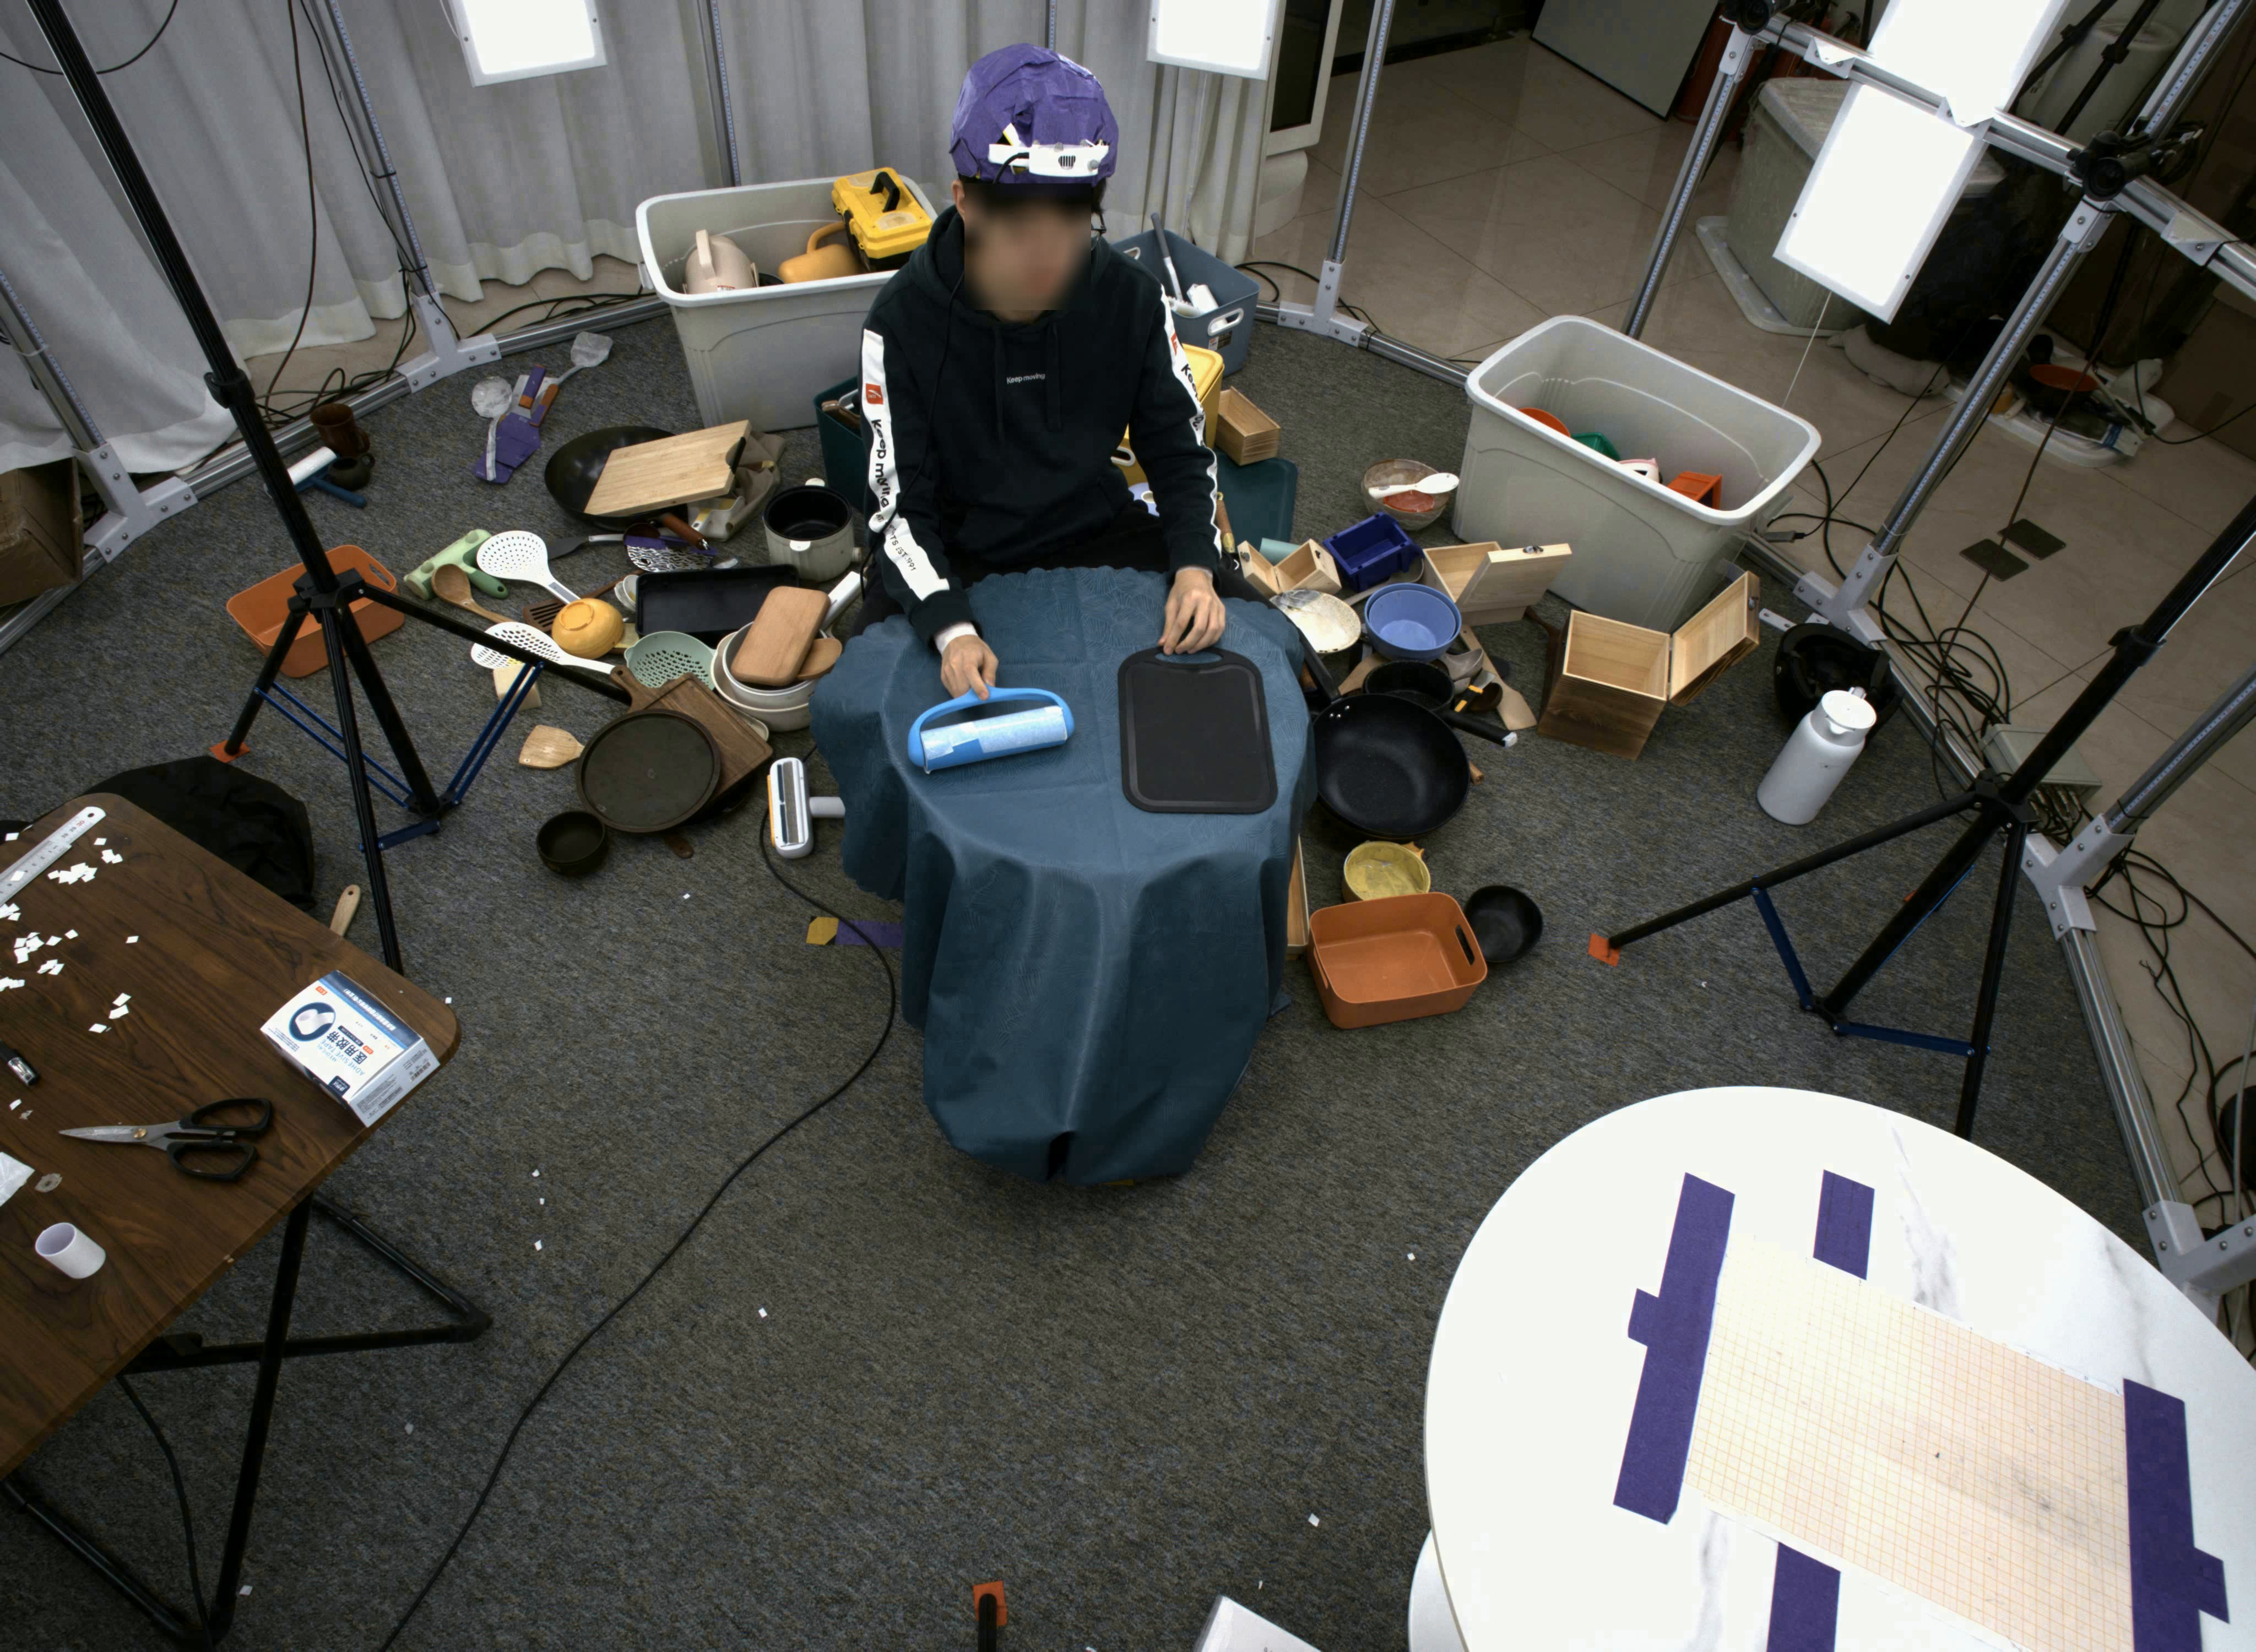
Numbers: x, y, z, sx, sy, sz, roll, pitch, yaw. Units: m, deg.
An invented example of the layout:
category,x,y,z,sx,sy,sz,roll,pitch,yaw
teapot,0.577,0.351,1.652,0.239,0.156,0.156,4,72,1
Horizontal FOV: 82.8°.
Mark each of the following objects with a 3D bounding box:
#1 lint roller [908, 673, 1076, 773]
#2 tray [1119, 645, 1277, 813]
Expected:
category,x,y,z,sx,sy,sz,roll,pitch,yaw
lint roller,-0.201,-0.162,1.759,0.229,0.066,0.184,-15,53,-14
tray,0.093,-0.144,1.794,0.211,0.009,0.333,1,49,-3
